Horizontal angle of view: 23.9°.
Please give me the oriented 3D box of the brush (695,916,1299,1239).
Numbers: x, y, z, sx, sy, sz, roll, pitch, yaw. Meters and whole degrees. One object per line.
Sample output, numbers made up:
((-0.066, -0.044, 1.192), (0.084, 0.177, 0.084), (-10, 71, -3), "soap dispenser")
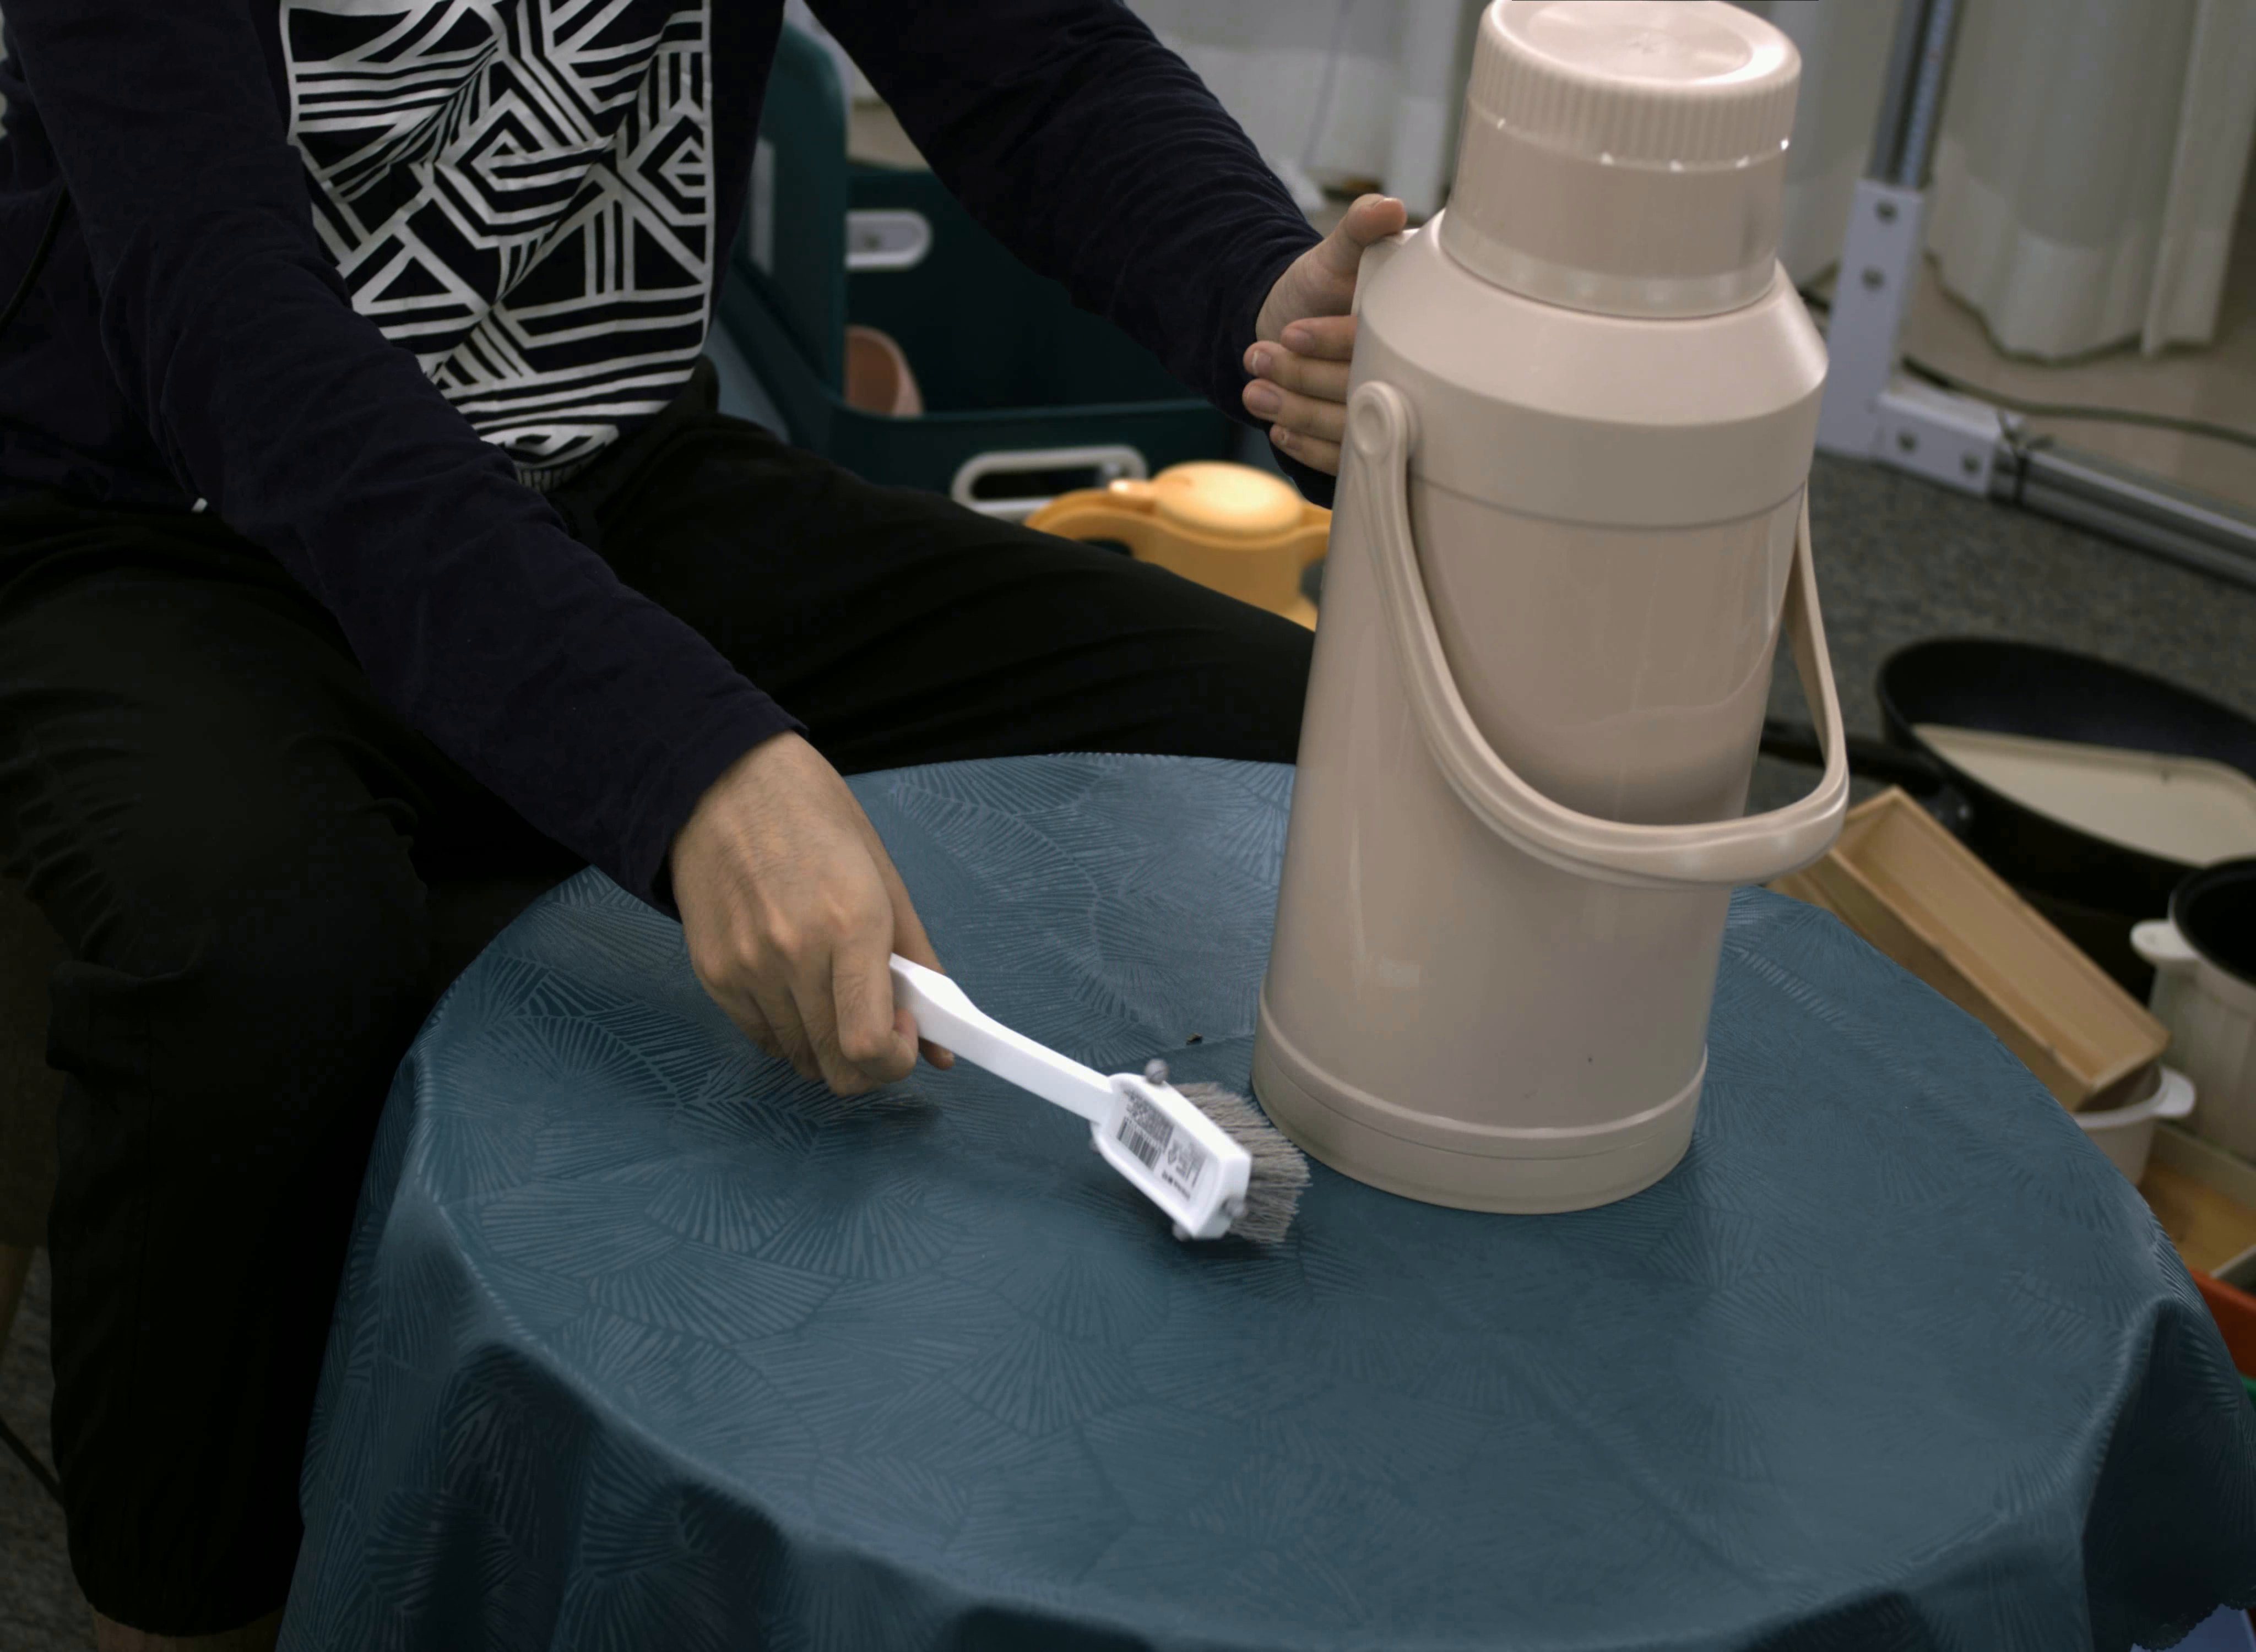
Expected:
((-0.045, 0.078, 1.821), (0.245, 0.034, 0.050), (25, 32, 30), "brush")

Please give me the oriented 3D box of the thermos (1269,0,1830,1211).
((0.139, -0.085, 1.811), (0.174, 0.405, 0.209), (-13, 32, -31), "thermos")
